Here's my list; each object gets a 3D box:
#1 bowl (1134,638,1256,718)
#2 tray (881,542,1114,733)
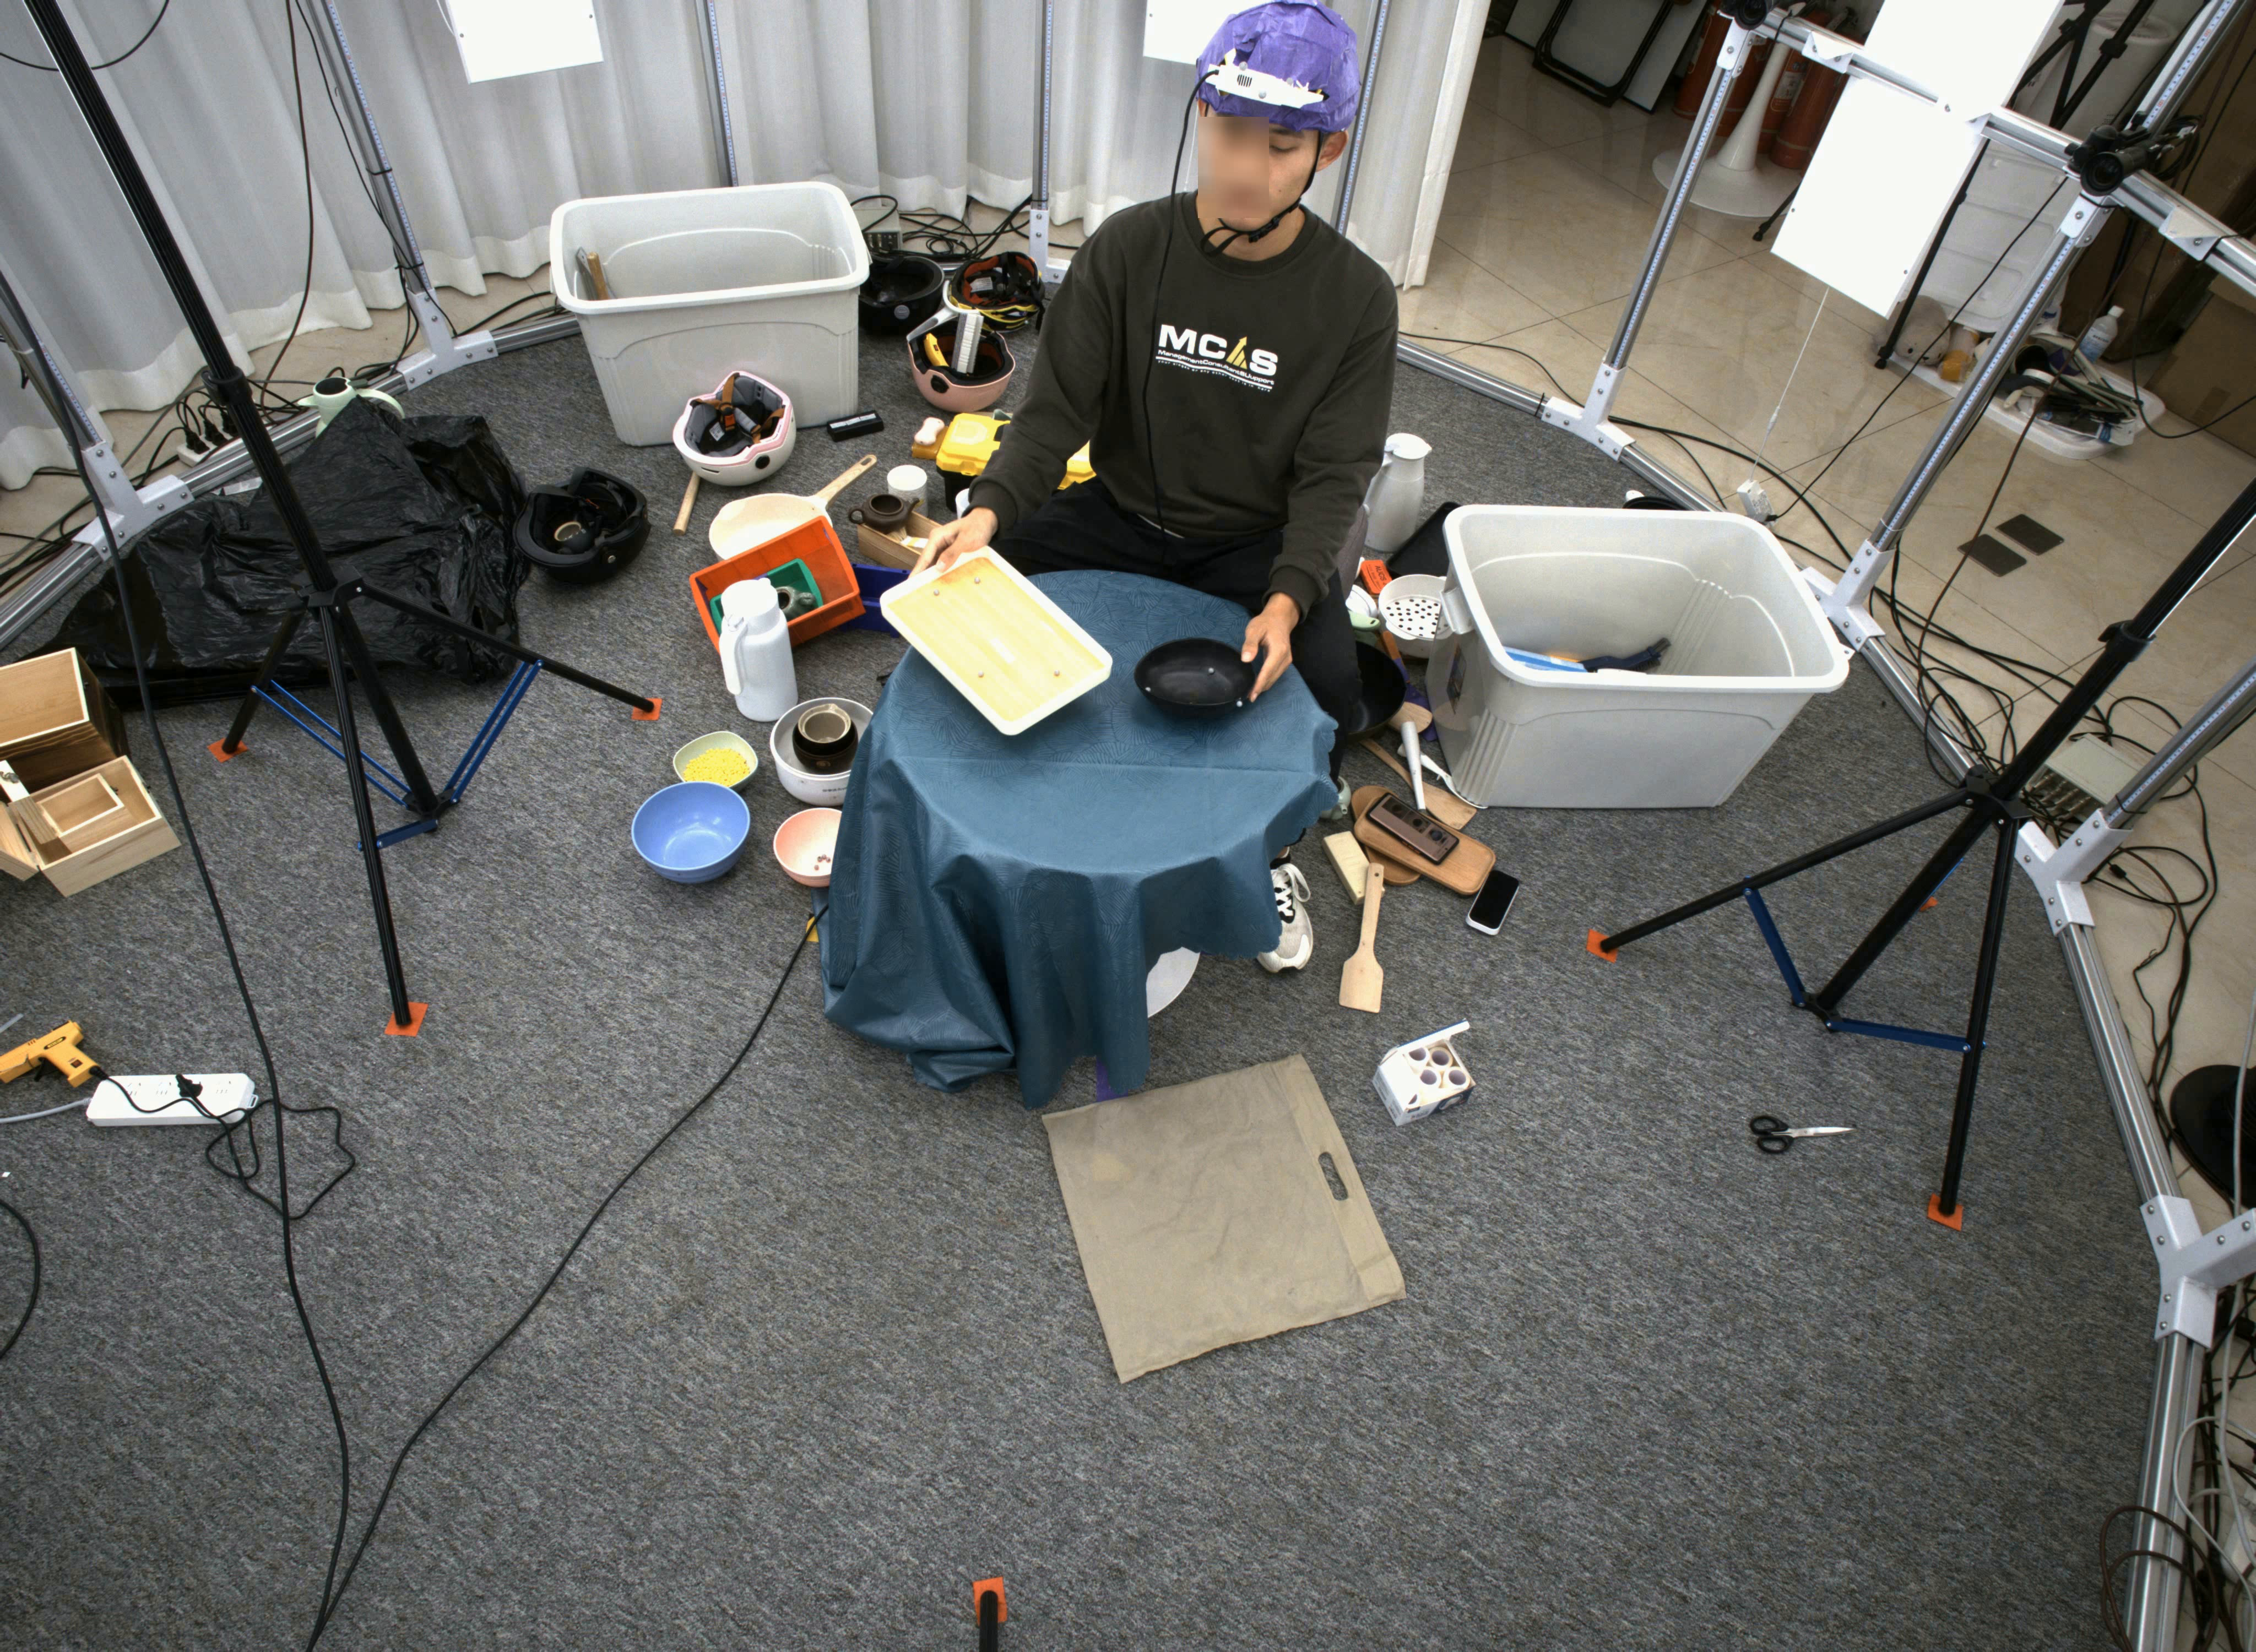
[{"bbox_3d":[0.093,-0.195,1.802,0.170,0.065,0.141,0,48,-2],"label":"bowl"},{"bbox_3d":[-0.181,-0.266,1.778,0.193,0.027,0.305,-34,63,-25],"label":"tray"}]
